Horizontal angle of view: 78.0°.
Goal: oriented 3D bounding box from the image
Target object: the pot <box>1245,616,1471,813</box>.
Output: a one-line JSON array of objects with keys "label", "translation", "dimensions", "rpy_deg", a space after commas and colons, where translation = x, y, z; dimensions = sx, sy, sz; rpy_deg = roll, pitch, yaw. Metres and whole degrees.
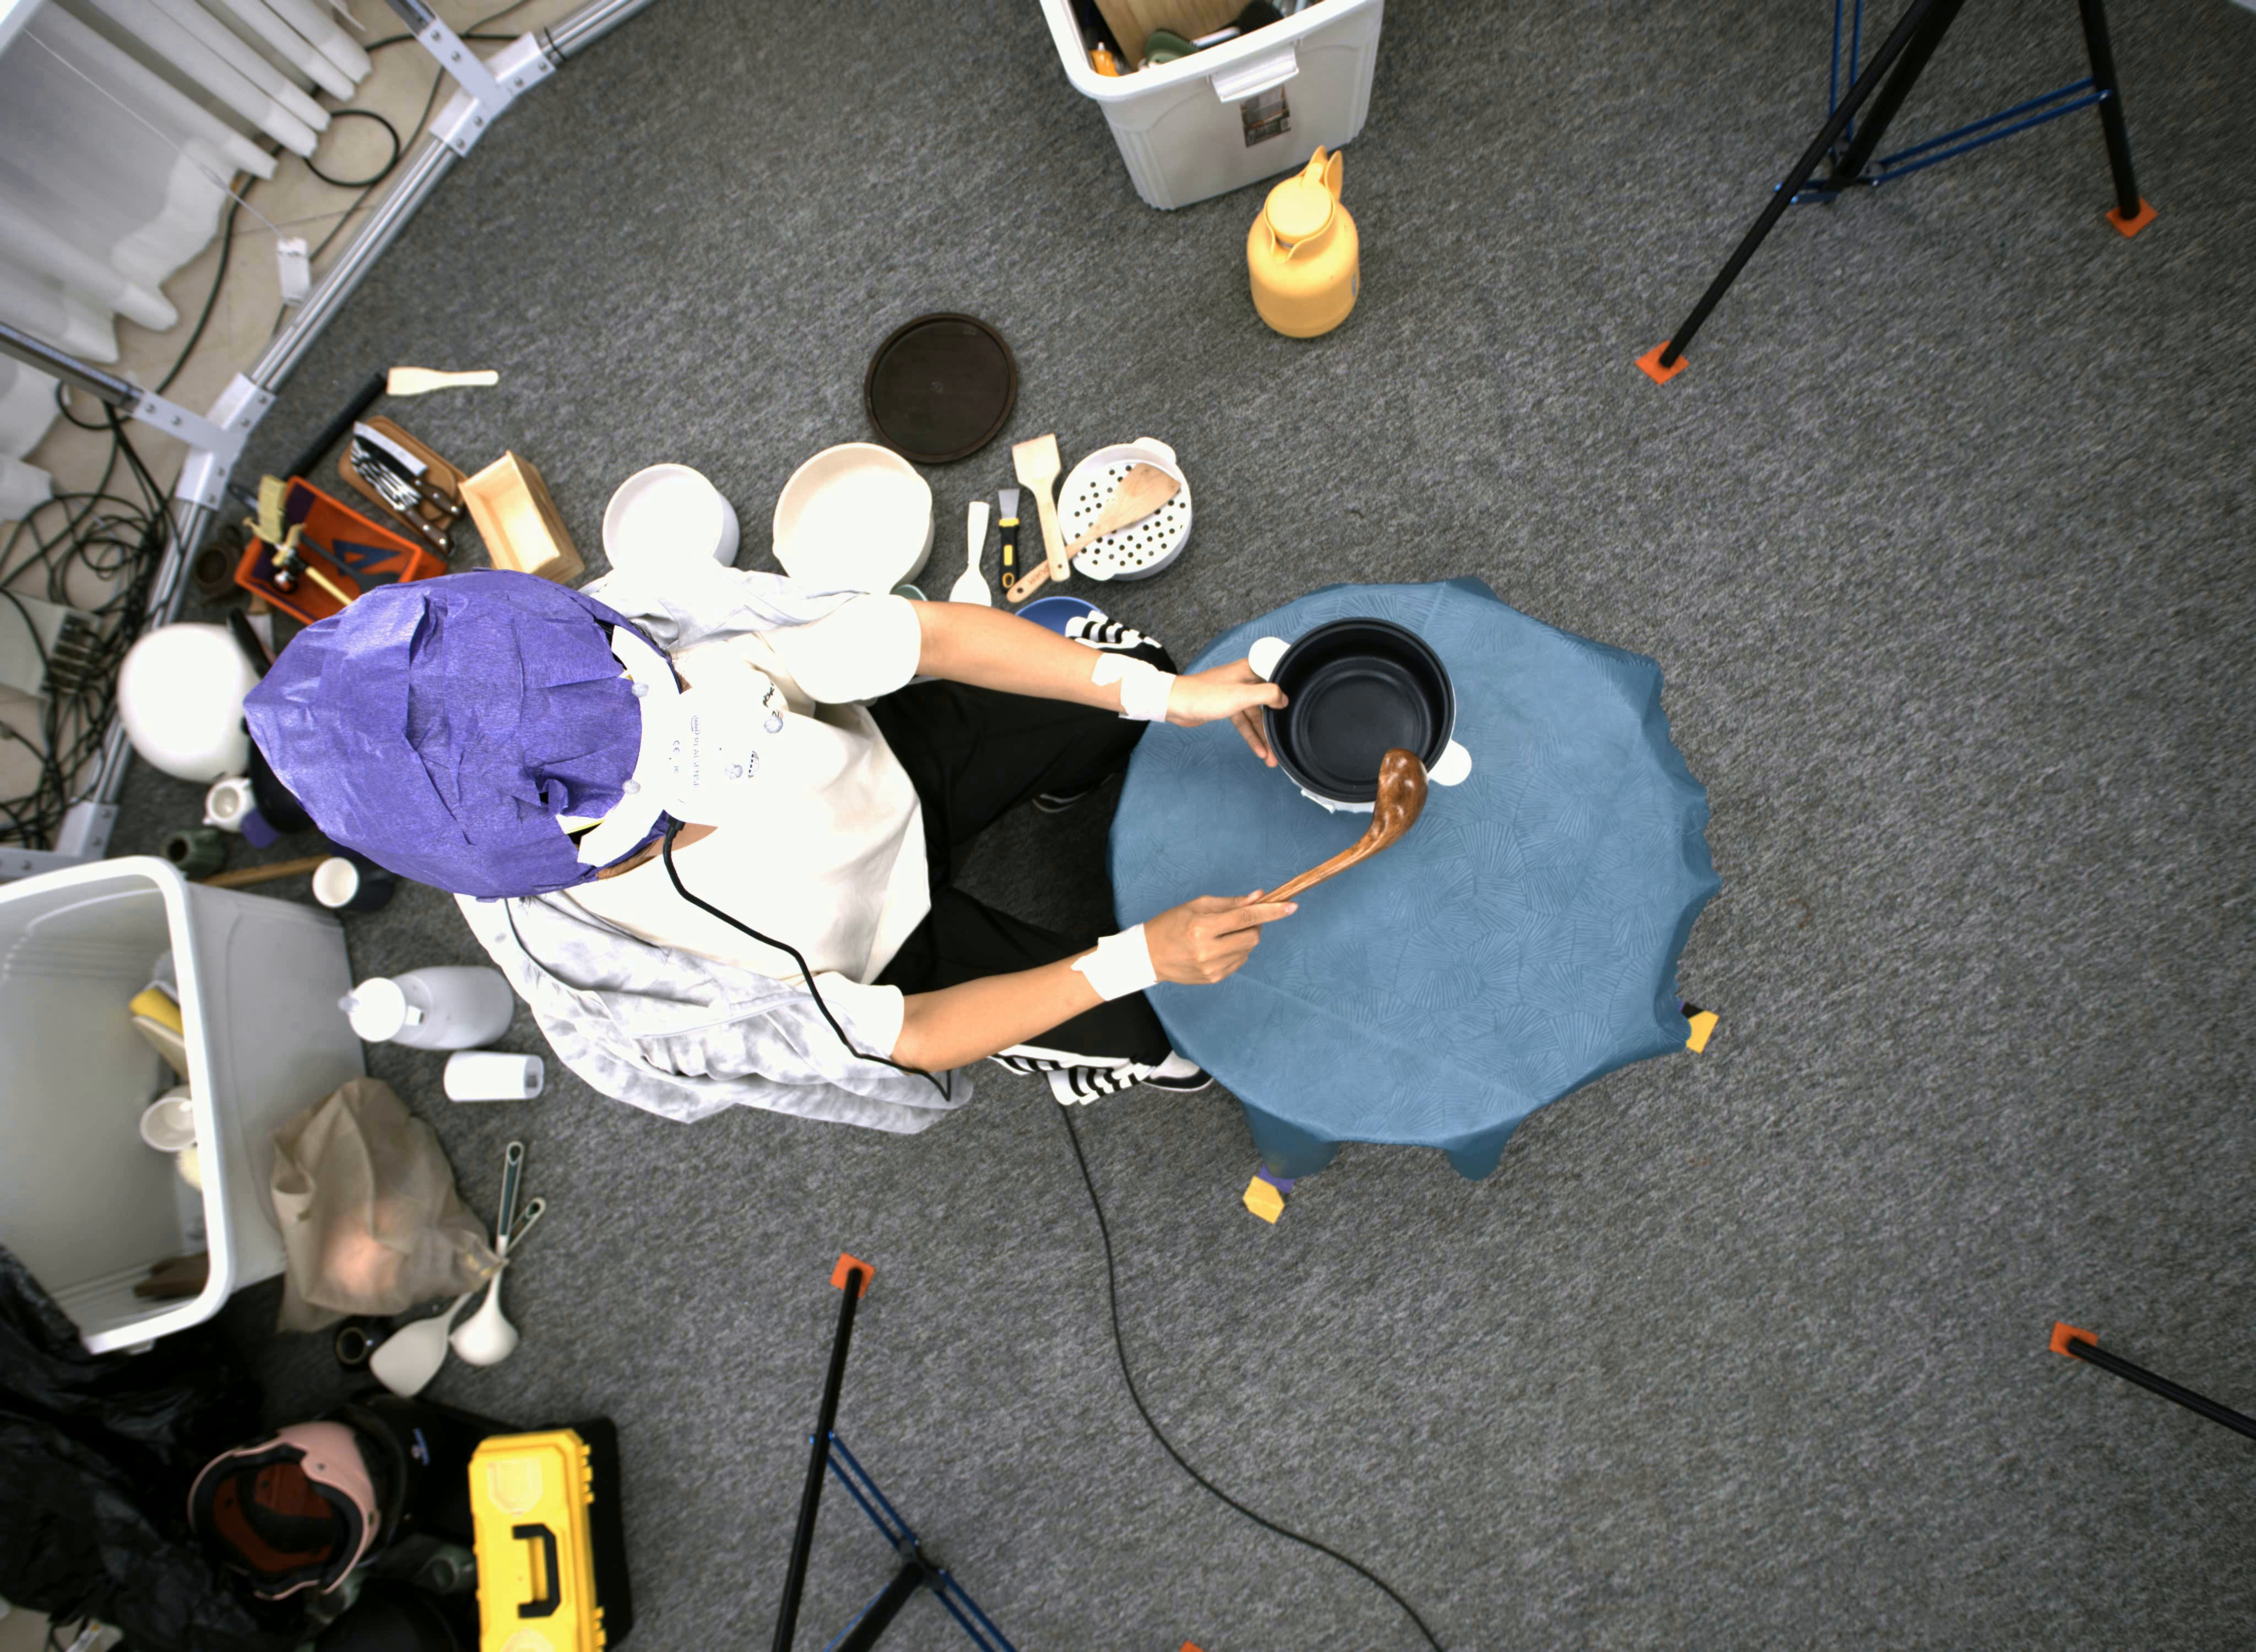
[{"label": "pot", "translation": [0.231, -0.110, 1.364], "dimensions": [0.240, 0.142, 0.191], "rpy_deg": [32, 95, 12]}]

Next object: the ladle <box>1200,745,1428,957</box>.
[{"label": "ladle", "translation": [0.164, 0.022, 1.292], "dimensions": [0.278, 0.082, 0.075], "rpy_deg": [-35, 62, 25]}]
